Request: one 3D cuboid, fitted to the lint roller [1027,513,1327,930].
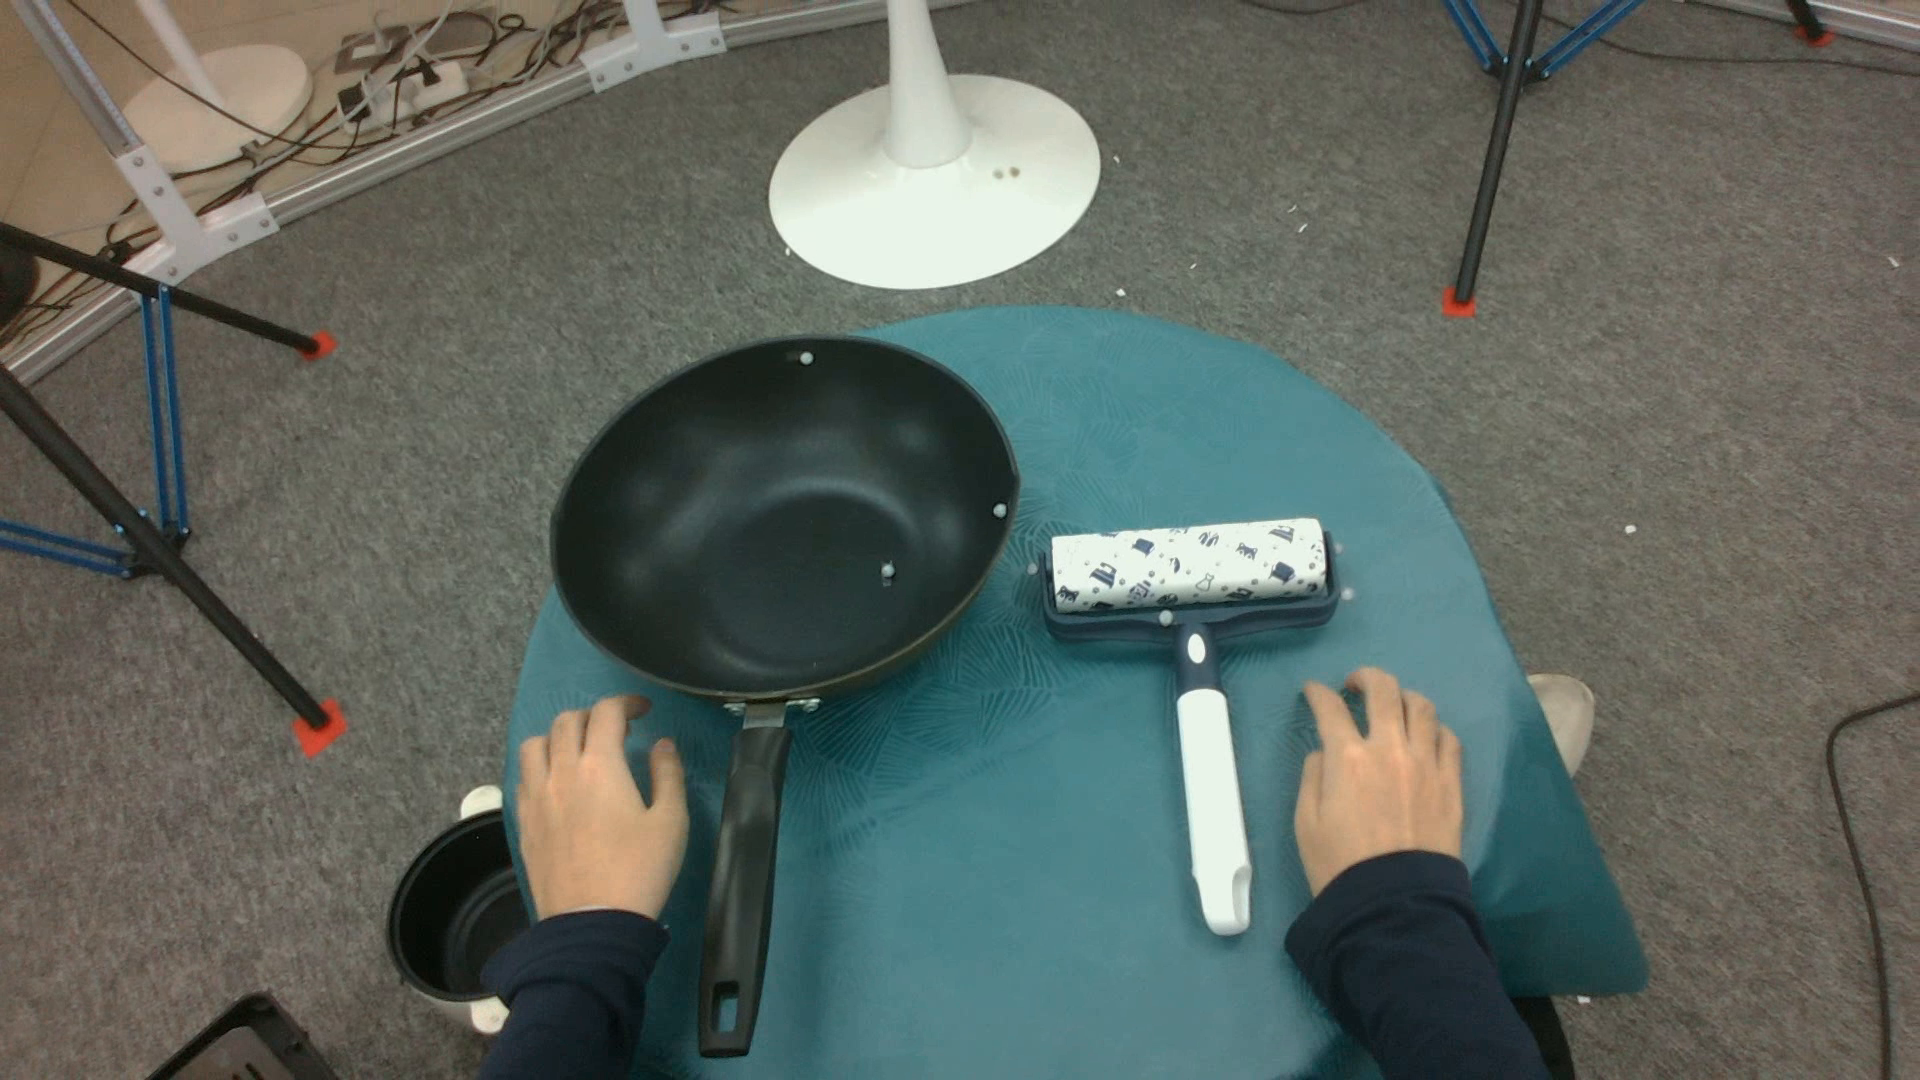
[{"bbox_3d":[0.132,0.093,0.775,0.176,0.050,0.248,-4,55,2],"label":"lint roller"}]

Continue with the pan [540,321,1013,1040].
[{"bbox_3d":[-0.109,0.063,0.799,0.288,0.086,0.465,-3,52,4],"label":"pan"}]
